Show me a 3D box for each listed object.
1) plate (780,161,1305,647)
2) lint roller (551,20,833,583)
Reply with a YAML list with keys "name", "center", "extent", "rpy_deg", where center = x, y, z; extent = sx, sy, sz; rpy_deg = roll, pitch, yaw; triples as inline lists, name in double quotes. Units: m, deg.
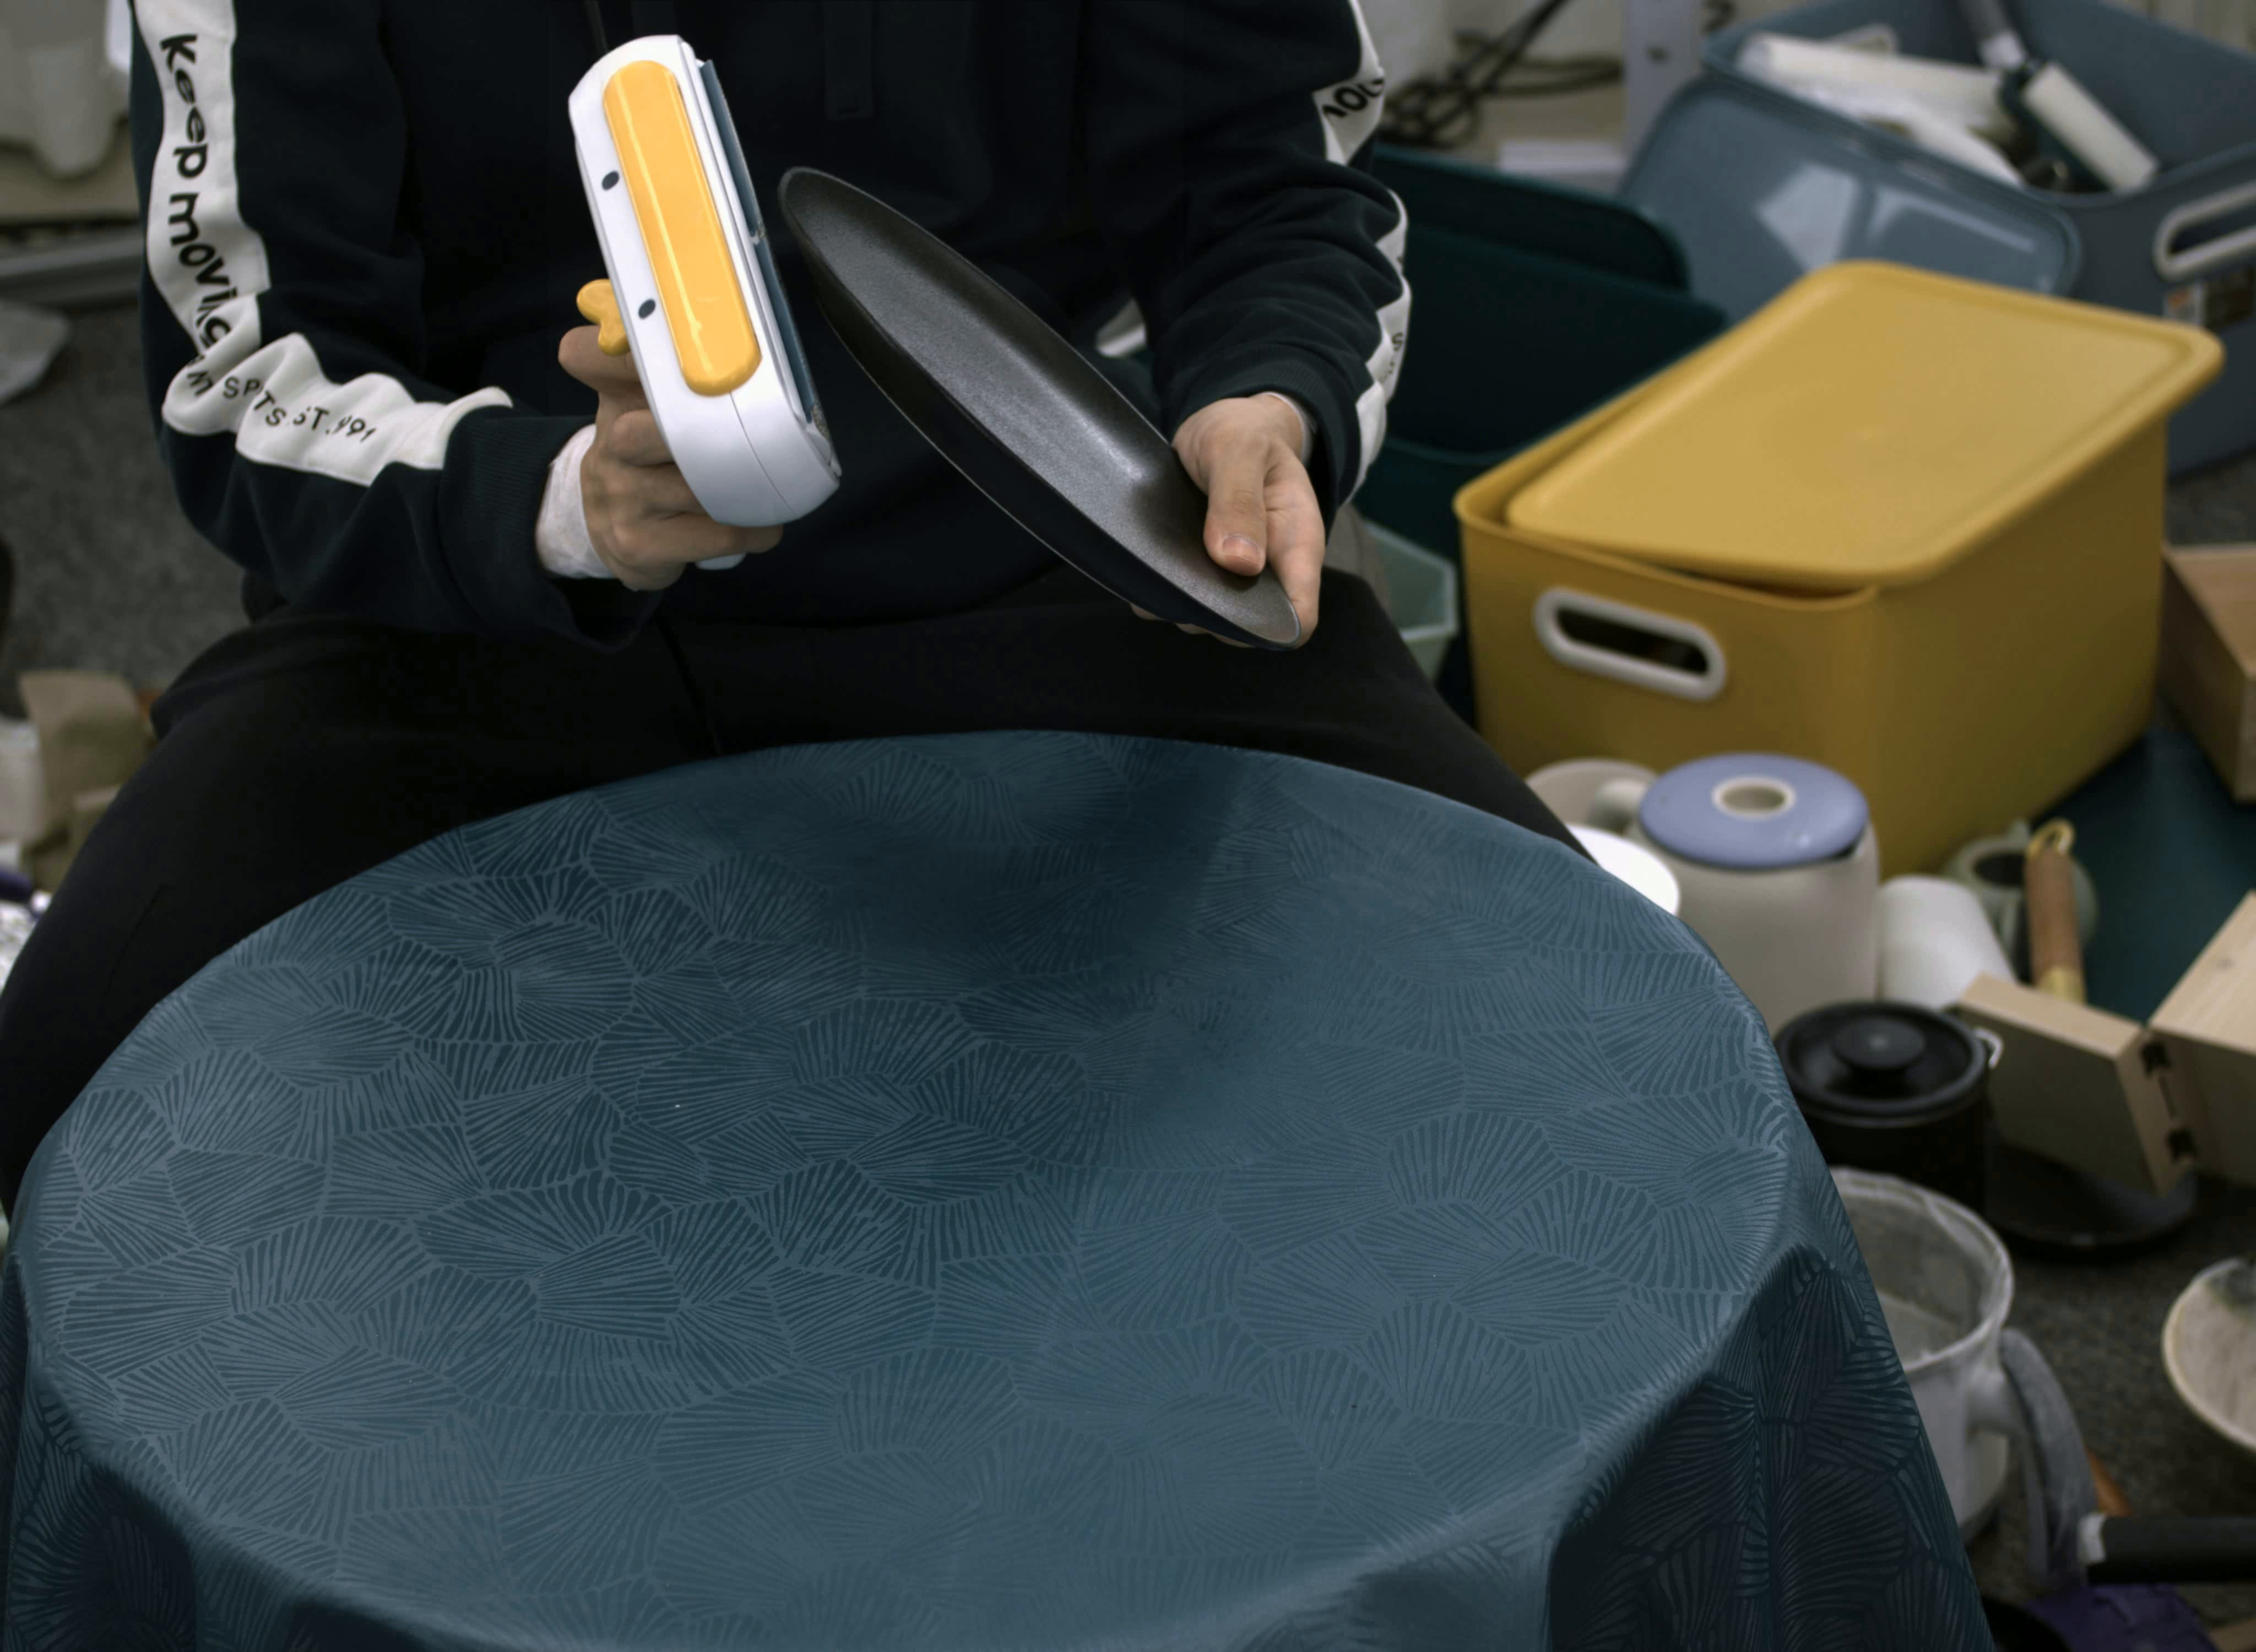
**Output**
- name: "plate"
  center: [-0.035, -0.141, 1.968]
  extent: [0.244, 0.023, 0.246]
  rpy_deg: [41, 12, -9]
- name: "lint roller"
  center: [-0.143, -0.157, 1.973]
  extent: [0.074, 0.190, 0.195]
  rpy_deg: [-23, 54, -3]
